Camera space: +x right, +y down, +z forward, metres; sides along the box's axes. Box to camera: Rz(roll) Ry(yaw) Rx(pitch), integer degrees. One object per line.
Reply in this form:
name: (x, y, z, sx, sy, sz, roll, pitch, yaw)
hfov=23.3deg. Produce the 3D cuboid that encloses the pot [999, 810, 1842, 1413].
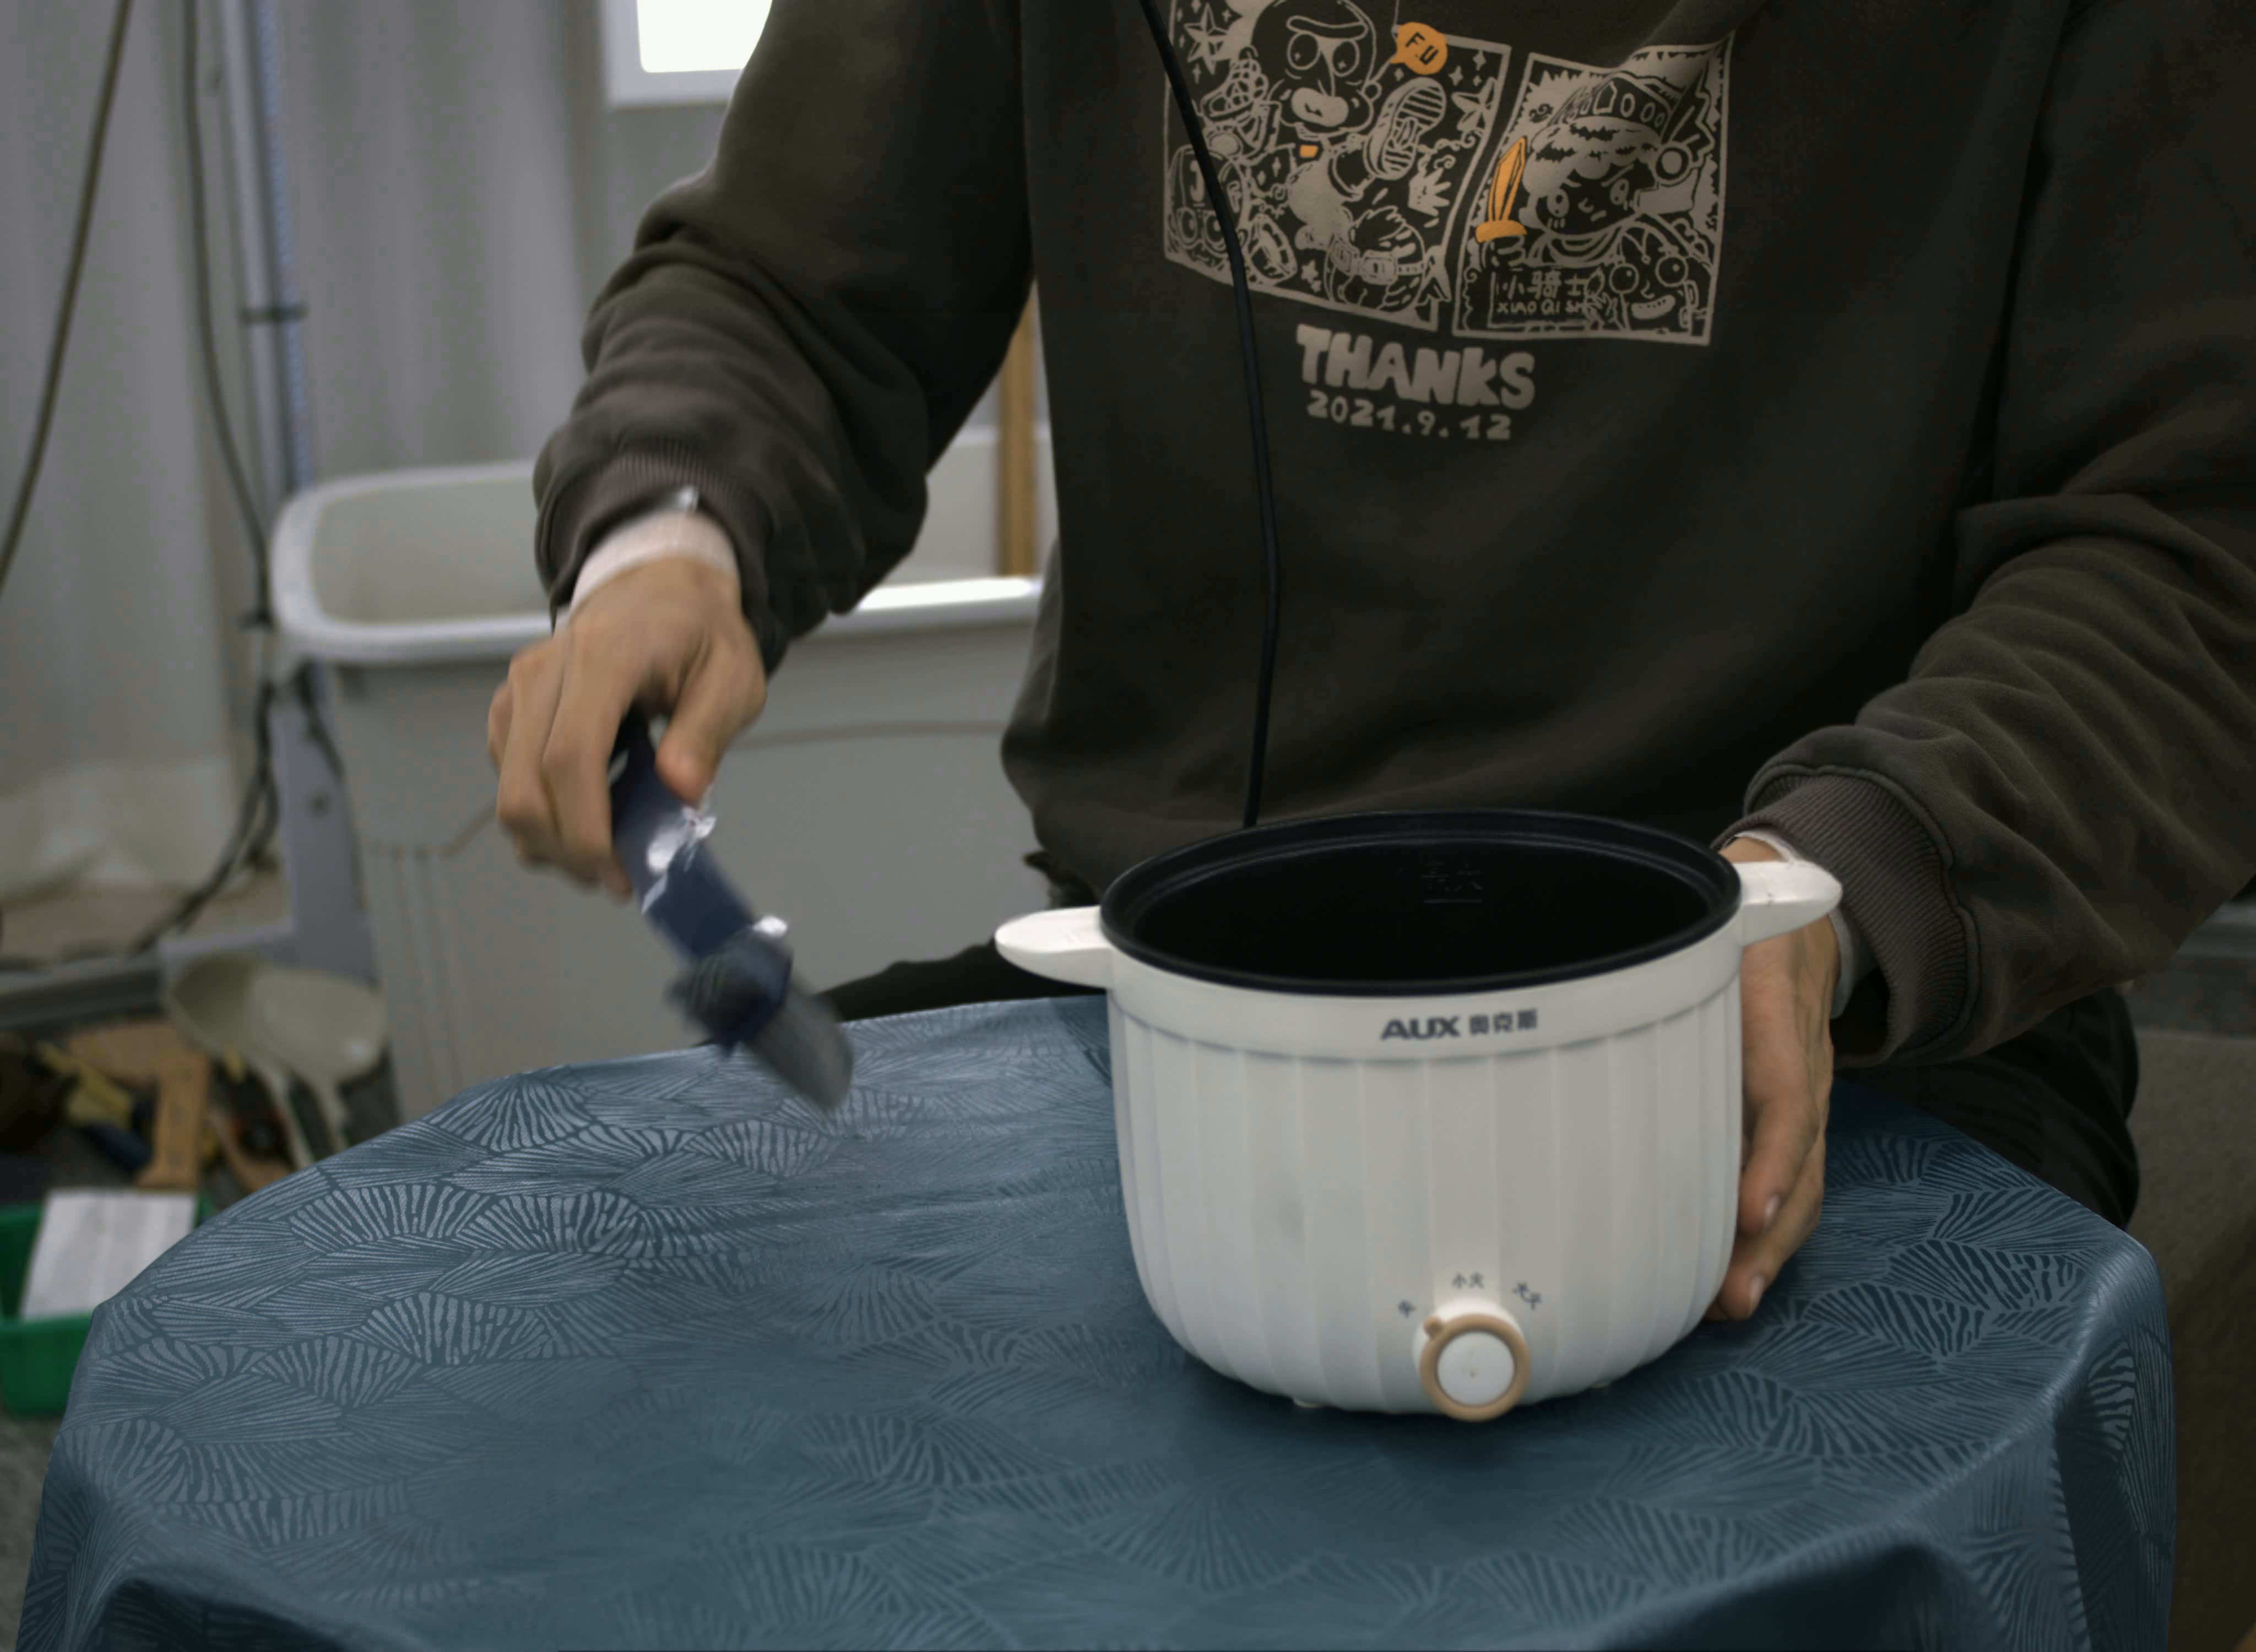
pot: (0.088, 0.084, 1.553, 0.239, 0.142, 0.191, -5, 11, -3)

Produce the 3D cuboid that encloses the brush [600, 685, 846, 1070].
brush: (-0.138, 0.003, 1.649, 0.094, 0.033, 0.276, 40, 5, -30)
